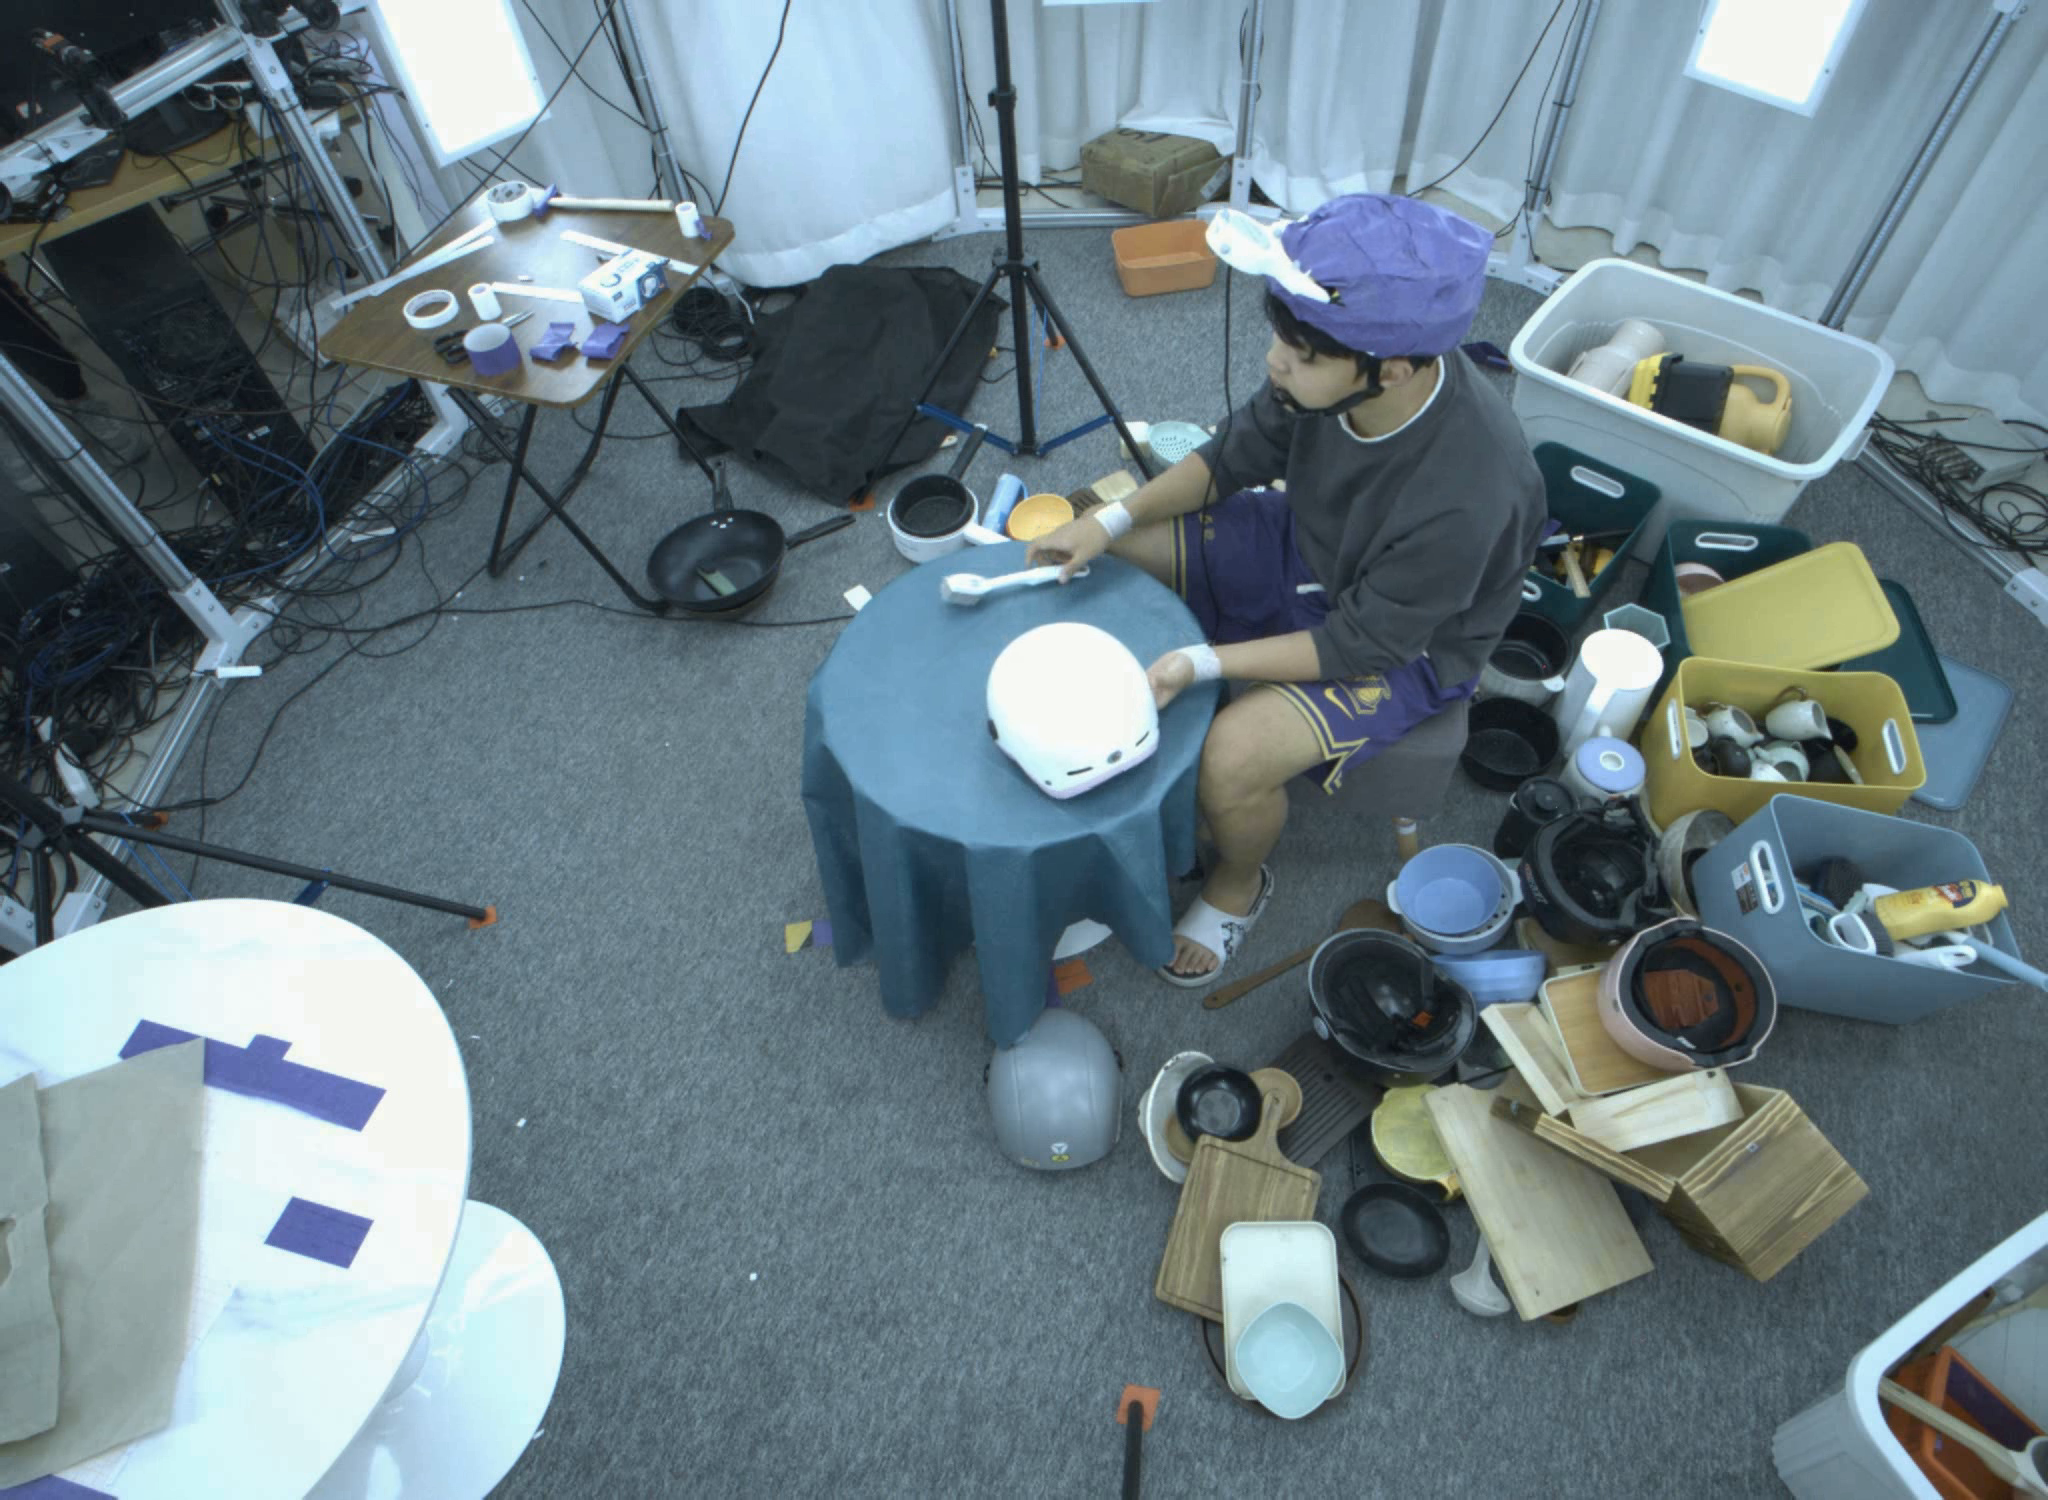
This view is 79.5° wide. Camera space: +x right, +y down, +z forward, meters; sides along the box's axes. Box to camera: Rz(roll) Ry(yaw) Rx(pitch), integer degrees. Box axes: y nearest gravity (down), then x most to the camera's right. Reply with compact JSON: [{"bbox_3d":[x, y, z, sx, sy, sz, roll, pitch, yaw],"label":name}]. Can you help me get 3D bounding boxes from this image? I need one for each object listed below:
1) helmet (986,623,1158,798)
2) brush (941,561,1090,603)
[{"bbox_3d":[0.059,-0.083,1.737,0.238,0.169,0.263,-27,55,-11],"label":"helmet"},{"bbox_3d":[-0.013,-0.269,1.967,0.247,0.050,0.034,-9,58,-20],"label":"brush"}]
